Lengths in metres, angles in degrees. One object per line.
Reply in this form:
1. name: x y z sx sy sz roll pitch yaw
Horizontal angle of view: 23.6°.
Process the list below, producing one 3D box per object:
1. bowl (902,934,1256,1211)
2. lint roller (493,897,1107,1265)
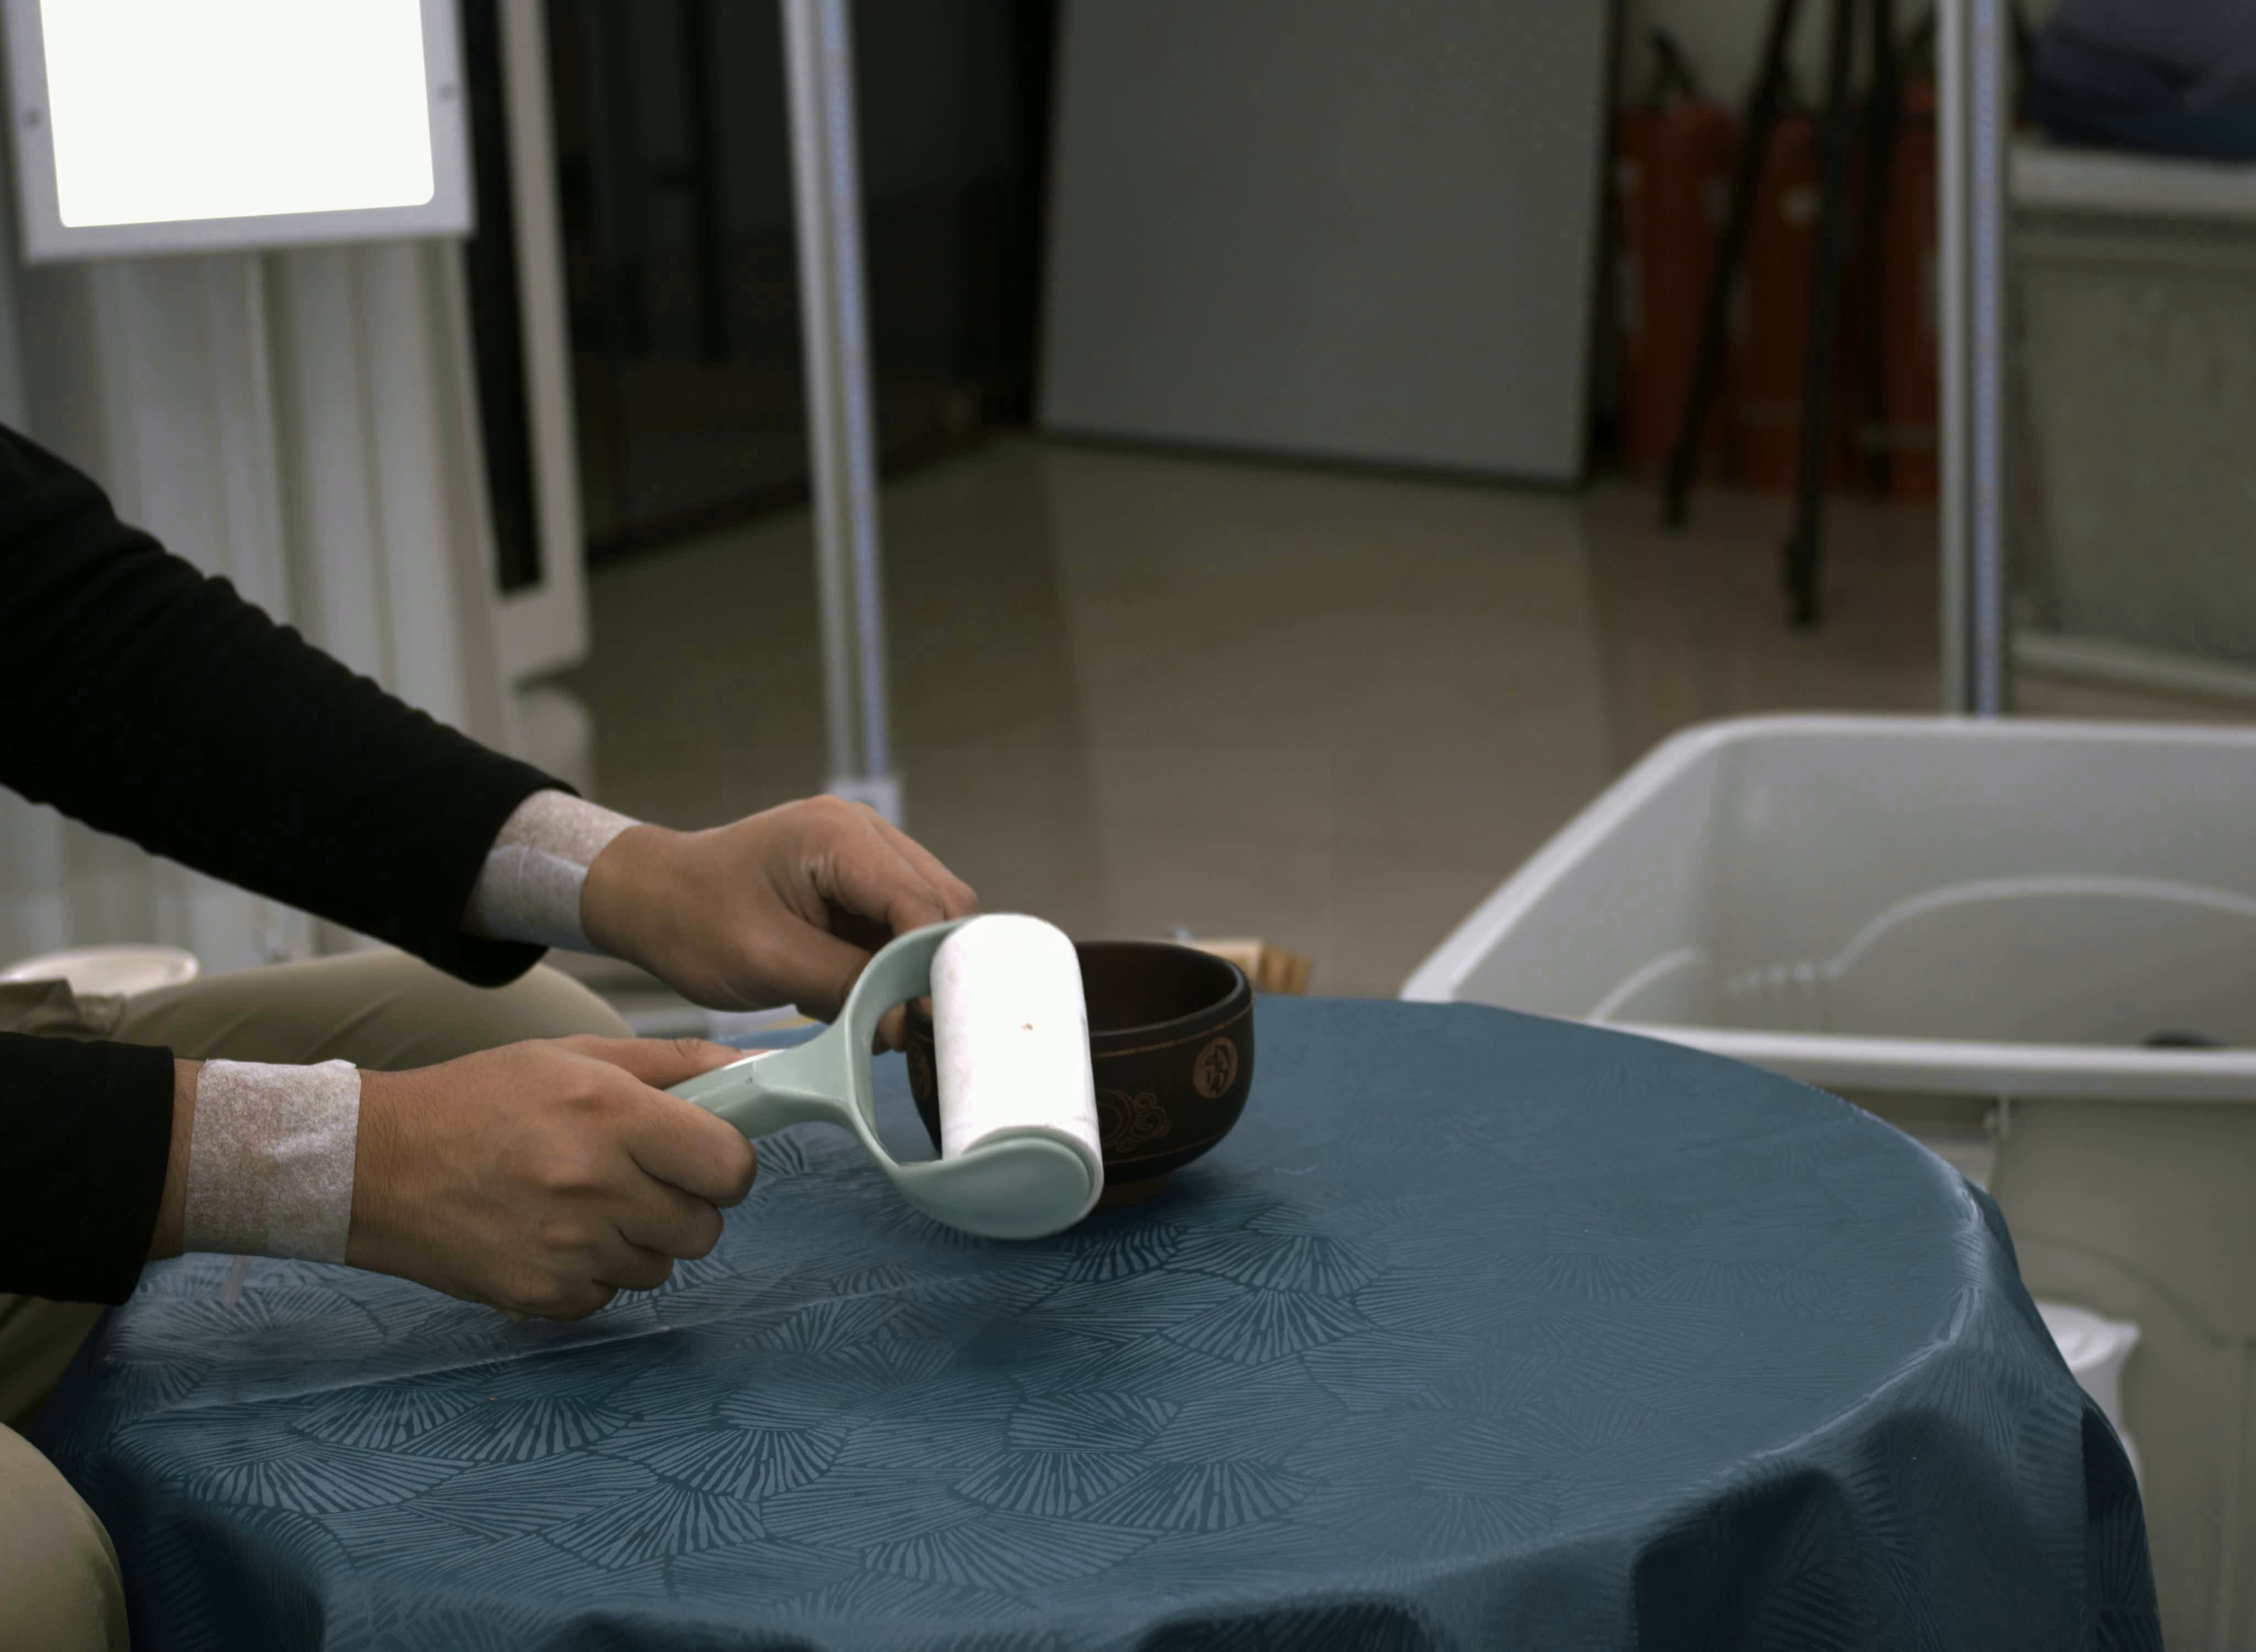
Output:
1. bowl: -0.015 0.084 1.771 0.116 0.070 0.118 -5 14 0
2. lint roller: -0.105 0.089 1.665 0.196 0.048 0.117 -14 39 5
